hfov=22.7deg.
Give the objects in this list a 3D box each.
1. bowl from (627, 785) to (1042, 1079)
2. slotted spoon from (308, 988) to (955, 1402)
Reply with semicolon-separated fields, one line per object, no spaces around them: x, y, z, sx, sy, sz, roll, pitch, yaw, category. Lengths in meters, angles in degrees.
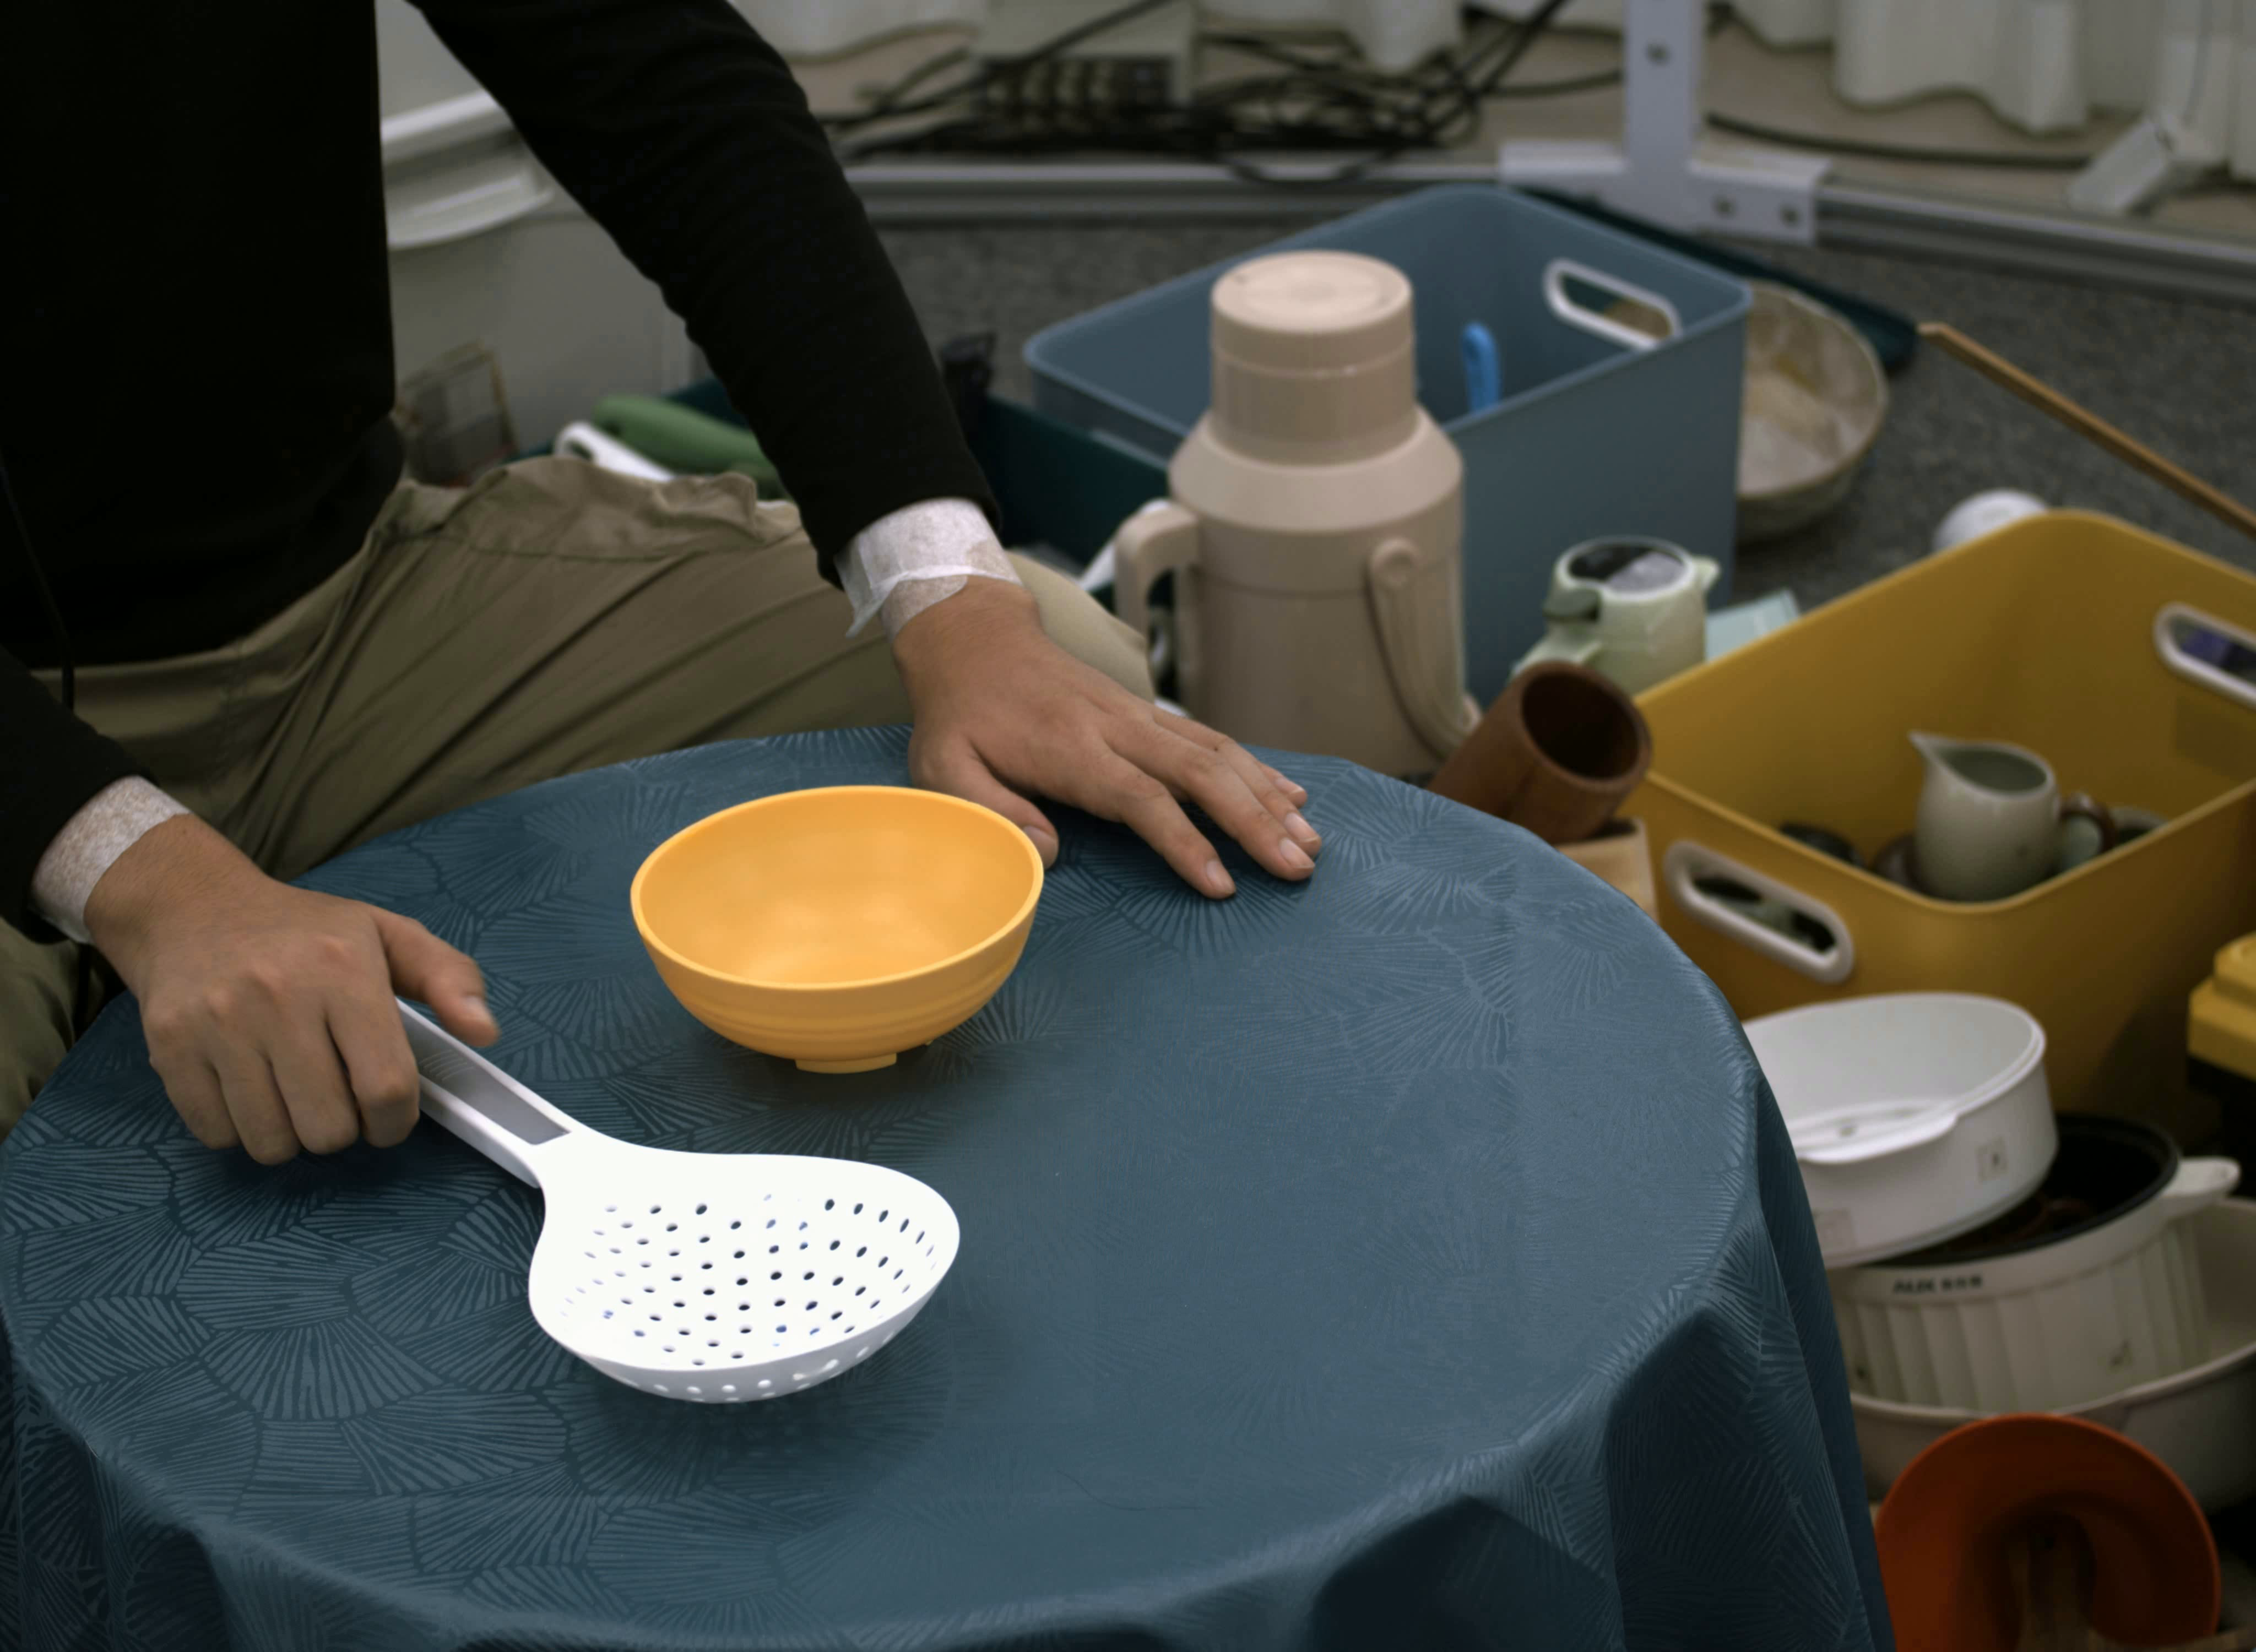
-0.101;0.046;1.958;0.144;0.059;0.147;-1;28;1;bowl
-0.181;0.114;1.845;0.137;0.045;0.350;-21;31;-29;slotted spoon
